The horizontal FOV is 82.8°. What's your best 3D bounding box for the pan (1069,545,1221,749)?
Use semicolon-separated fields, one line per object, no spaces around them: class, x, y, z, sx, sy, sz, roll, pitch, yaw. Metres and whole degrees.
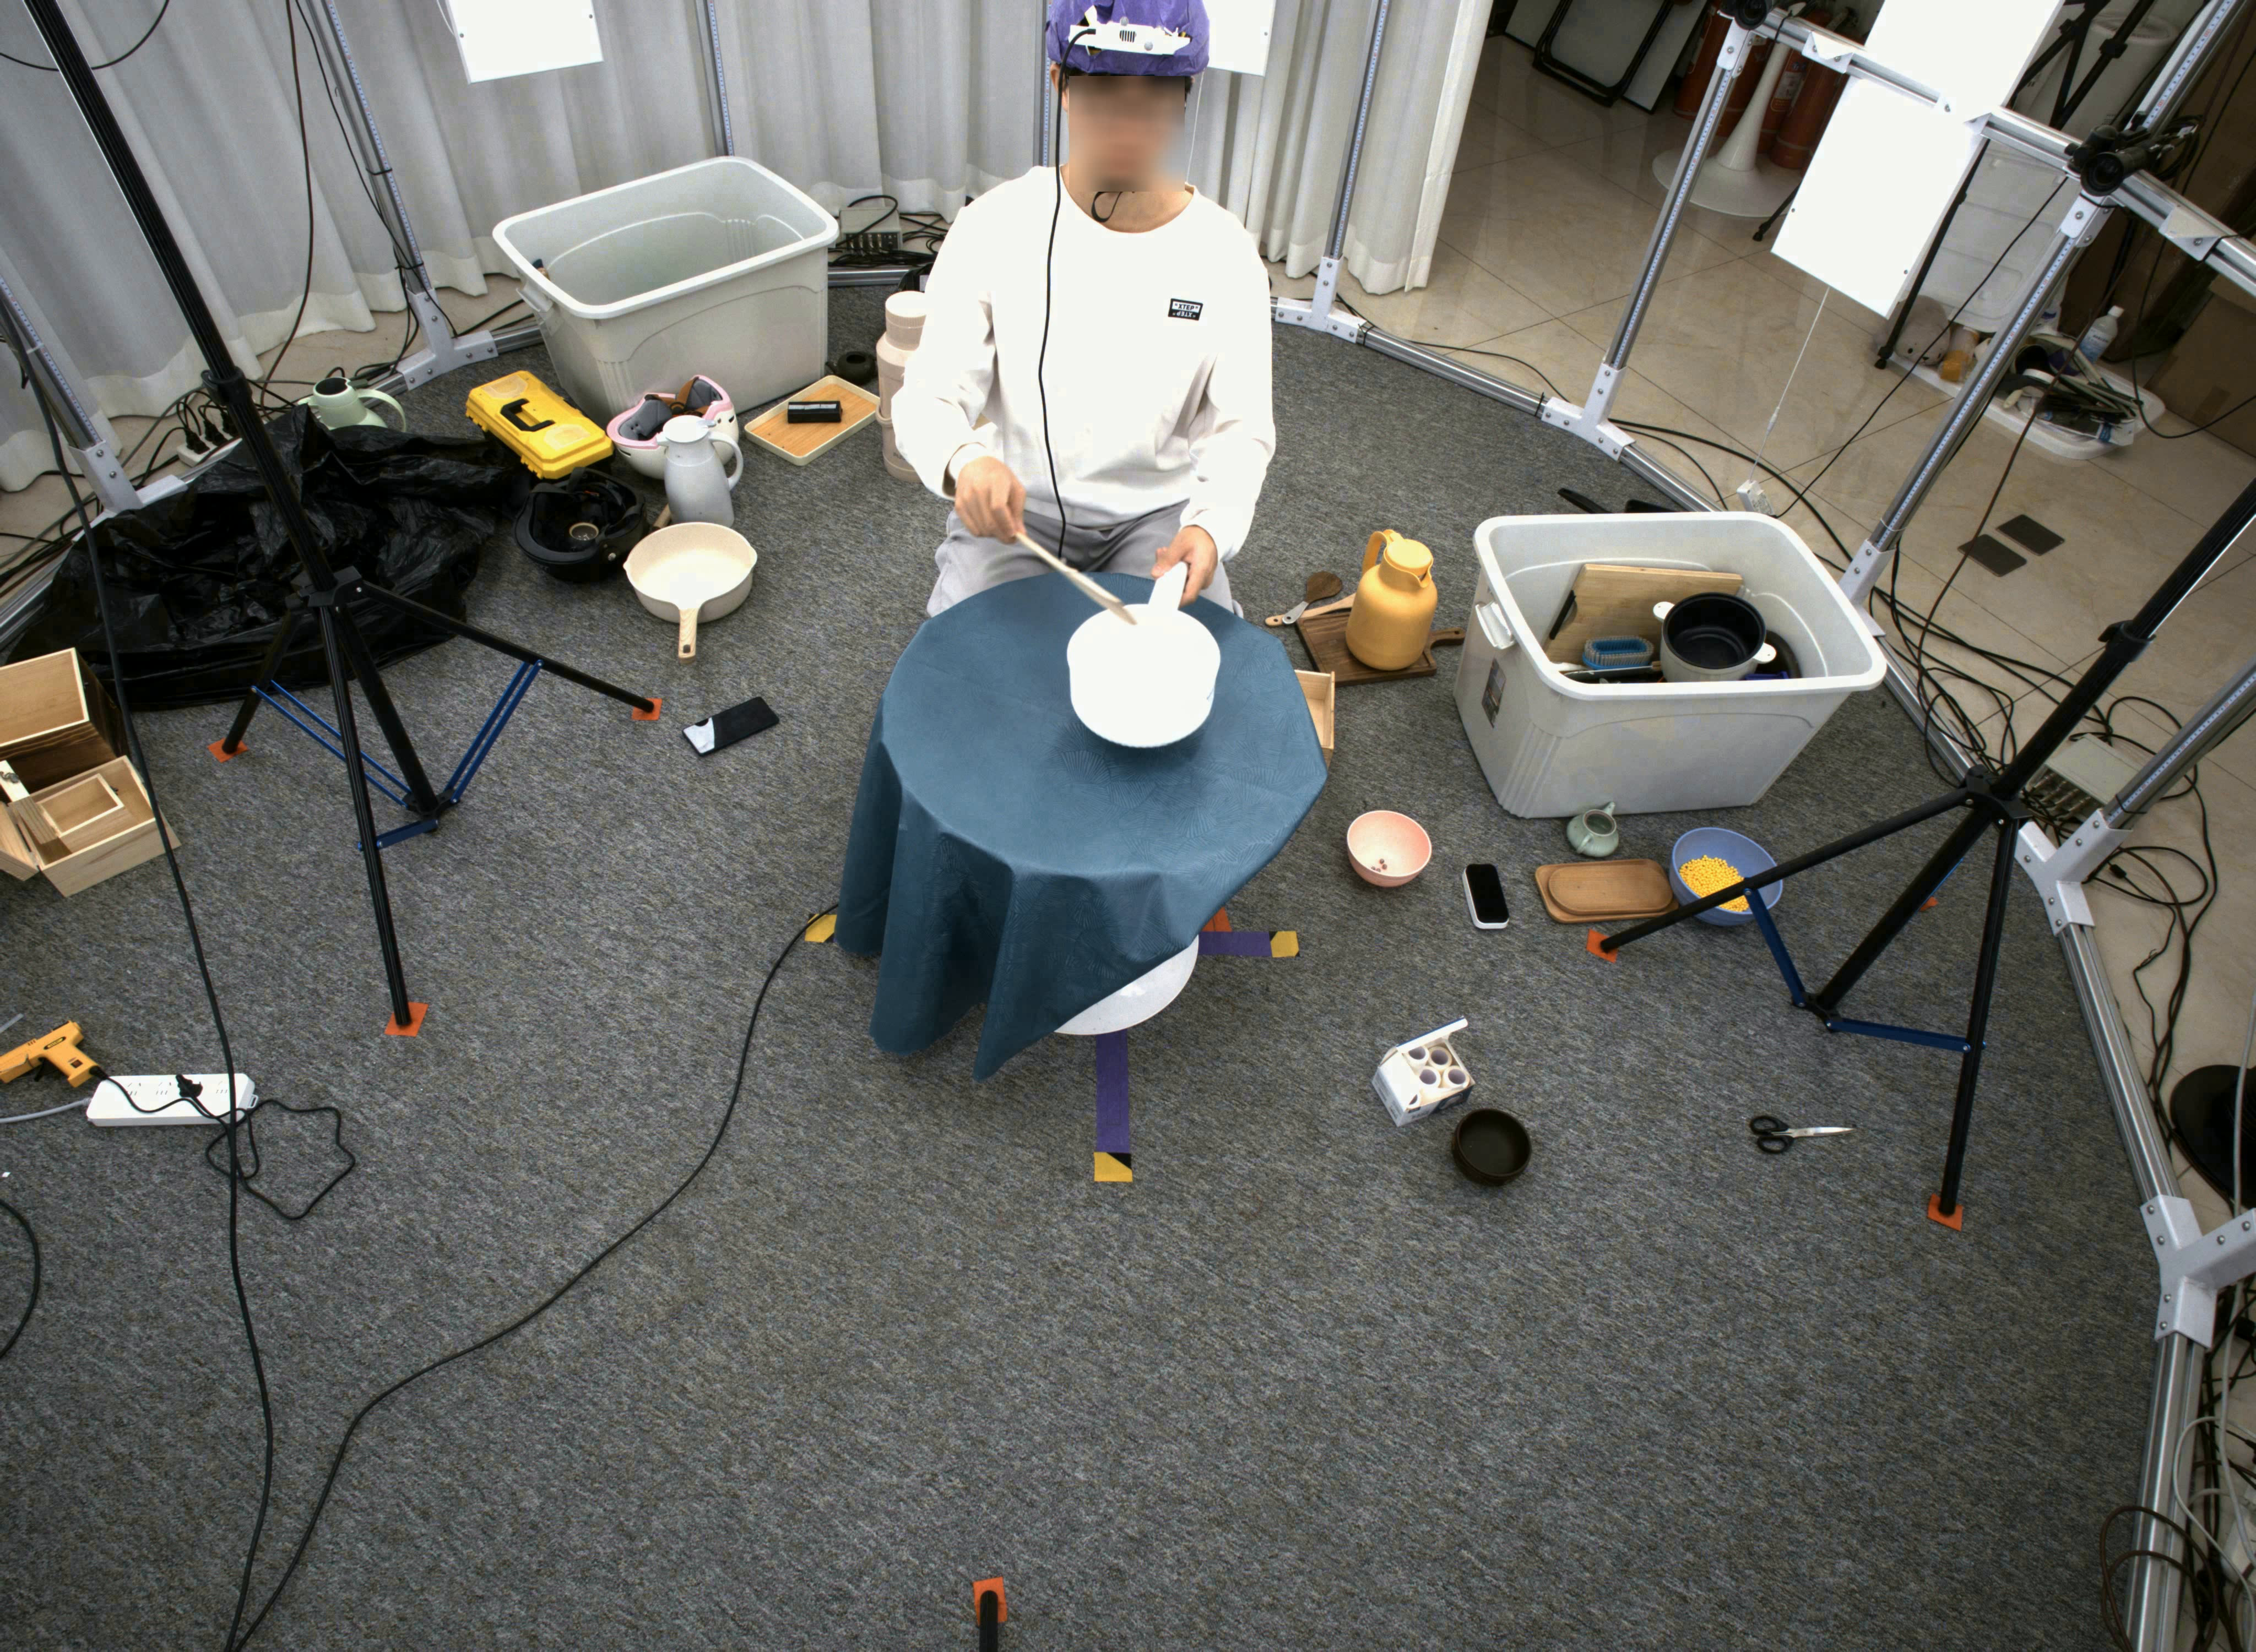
pan;0.041;-0.249;1.776;0.202;0.099;0.363;10;47;10

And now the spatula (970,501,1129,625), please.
spatula;-0.110;-0.344;1.654;0.298;0.071;0.010;41;93;29
